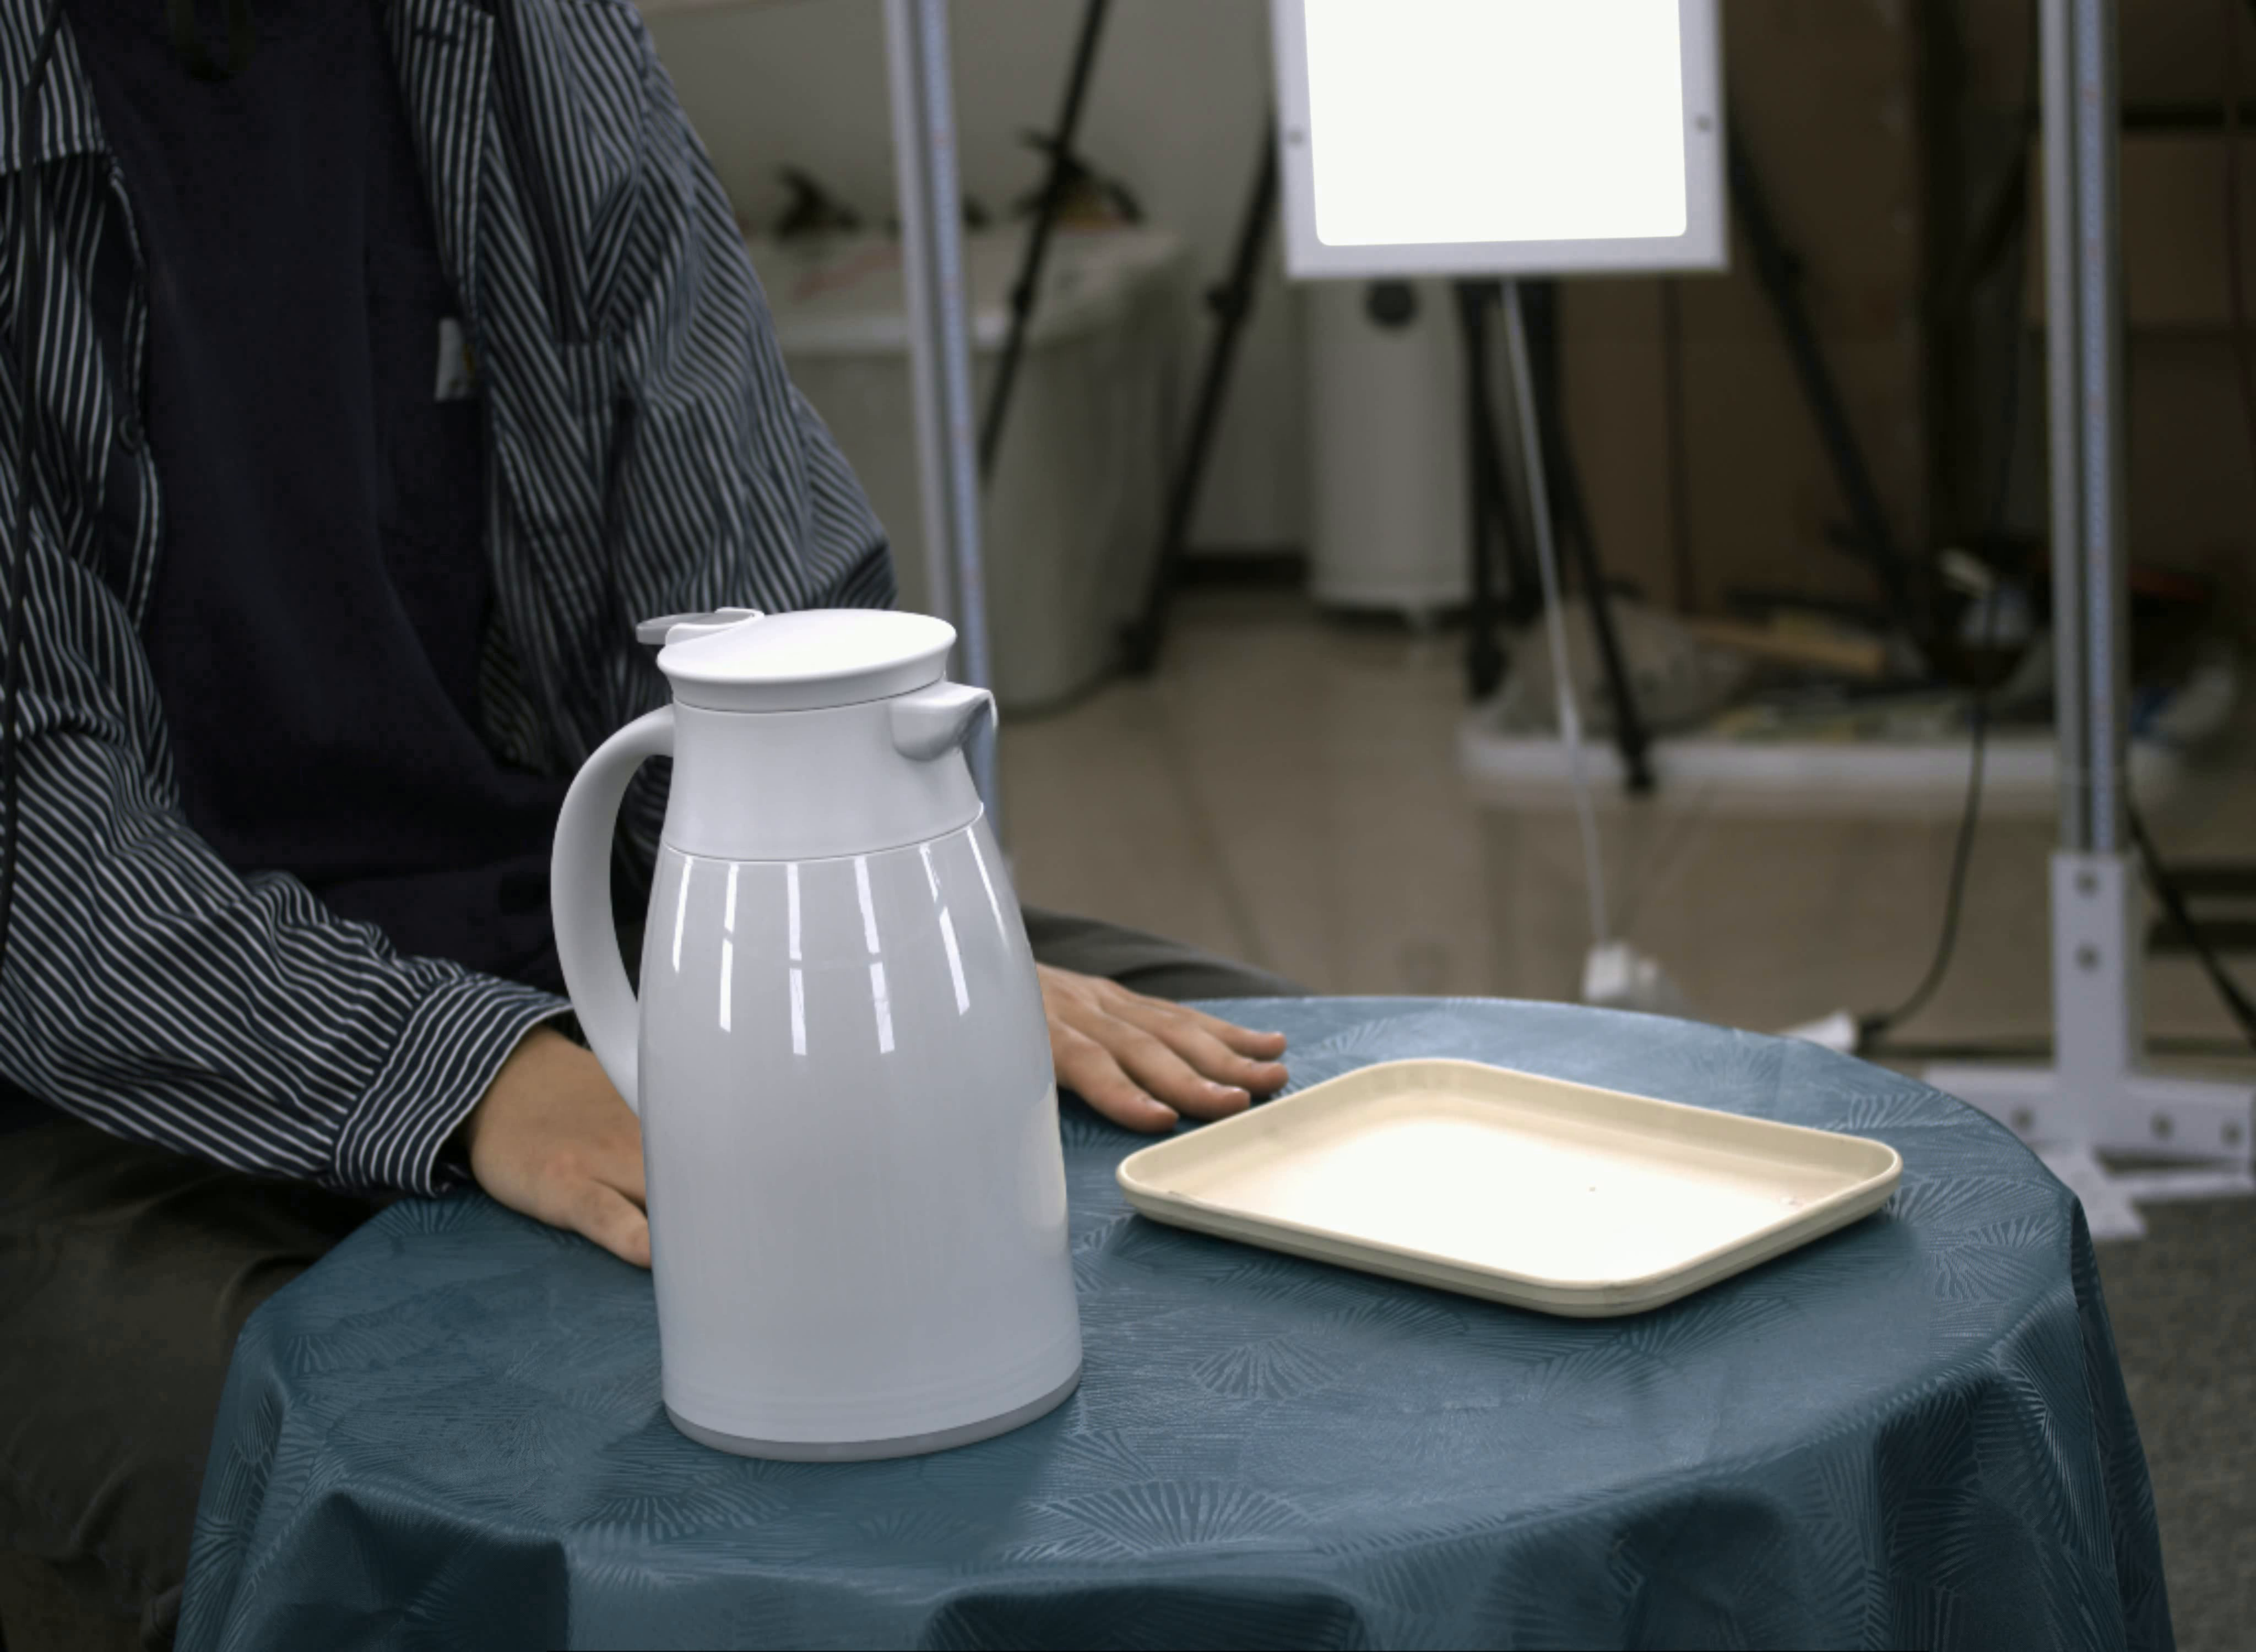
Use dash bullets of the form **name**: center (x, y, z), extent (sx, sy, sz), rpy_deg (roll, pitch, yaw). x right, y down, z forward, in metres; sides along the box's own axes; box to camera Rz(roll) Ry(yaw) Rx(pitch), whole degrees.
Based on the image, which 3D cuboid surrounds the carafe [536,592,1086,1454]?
- **carafe**: center (-0.106, 0.053, 1.700), extent (0.171, 0.249, 0.129), rpy_deg (2, 16, 30)

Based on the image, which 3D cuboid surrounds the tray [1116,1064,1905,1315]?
- **tray**: center (0.127, 0.120, 1.835), extent (0.167, 0.017, 0.245), rpy_deg (-17, 17, -41)
